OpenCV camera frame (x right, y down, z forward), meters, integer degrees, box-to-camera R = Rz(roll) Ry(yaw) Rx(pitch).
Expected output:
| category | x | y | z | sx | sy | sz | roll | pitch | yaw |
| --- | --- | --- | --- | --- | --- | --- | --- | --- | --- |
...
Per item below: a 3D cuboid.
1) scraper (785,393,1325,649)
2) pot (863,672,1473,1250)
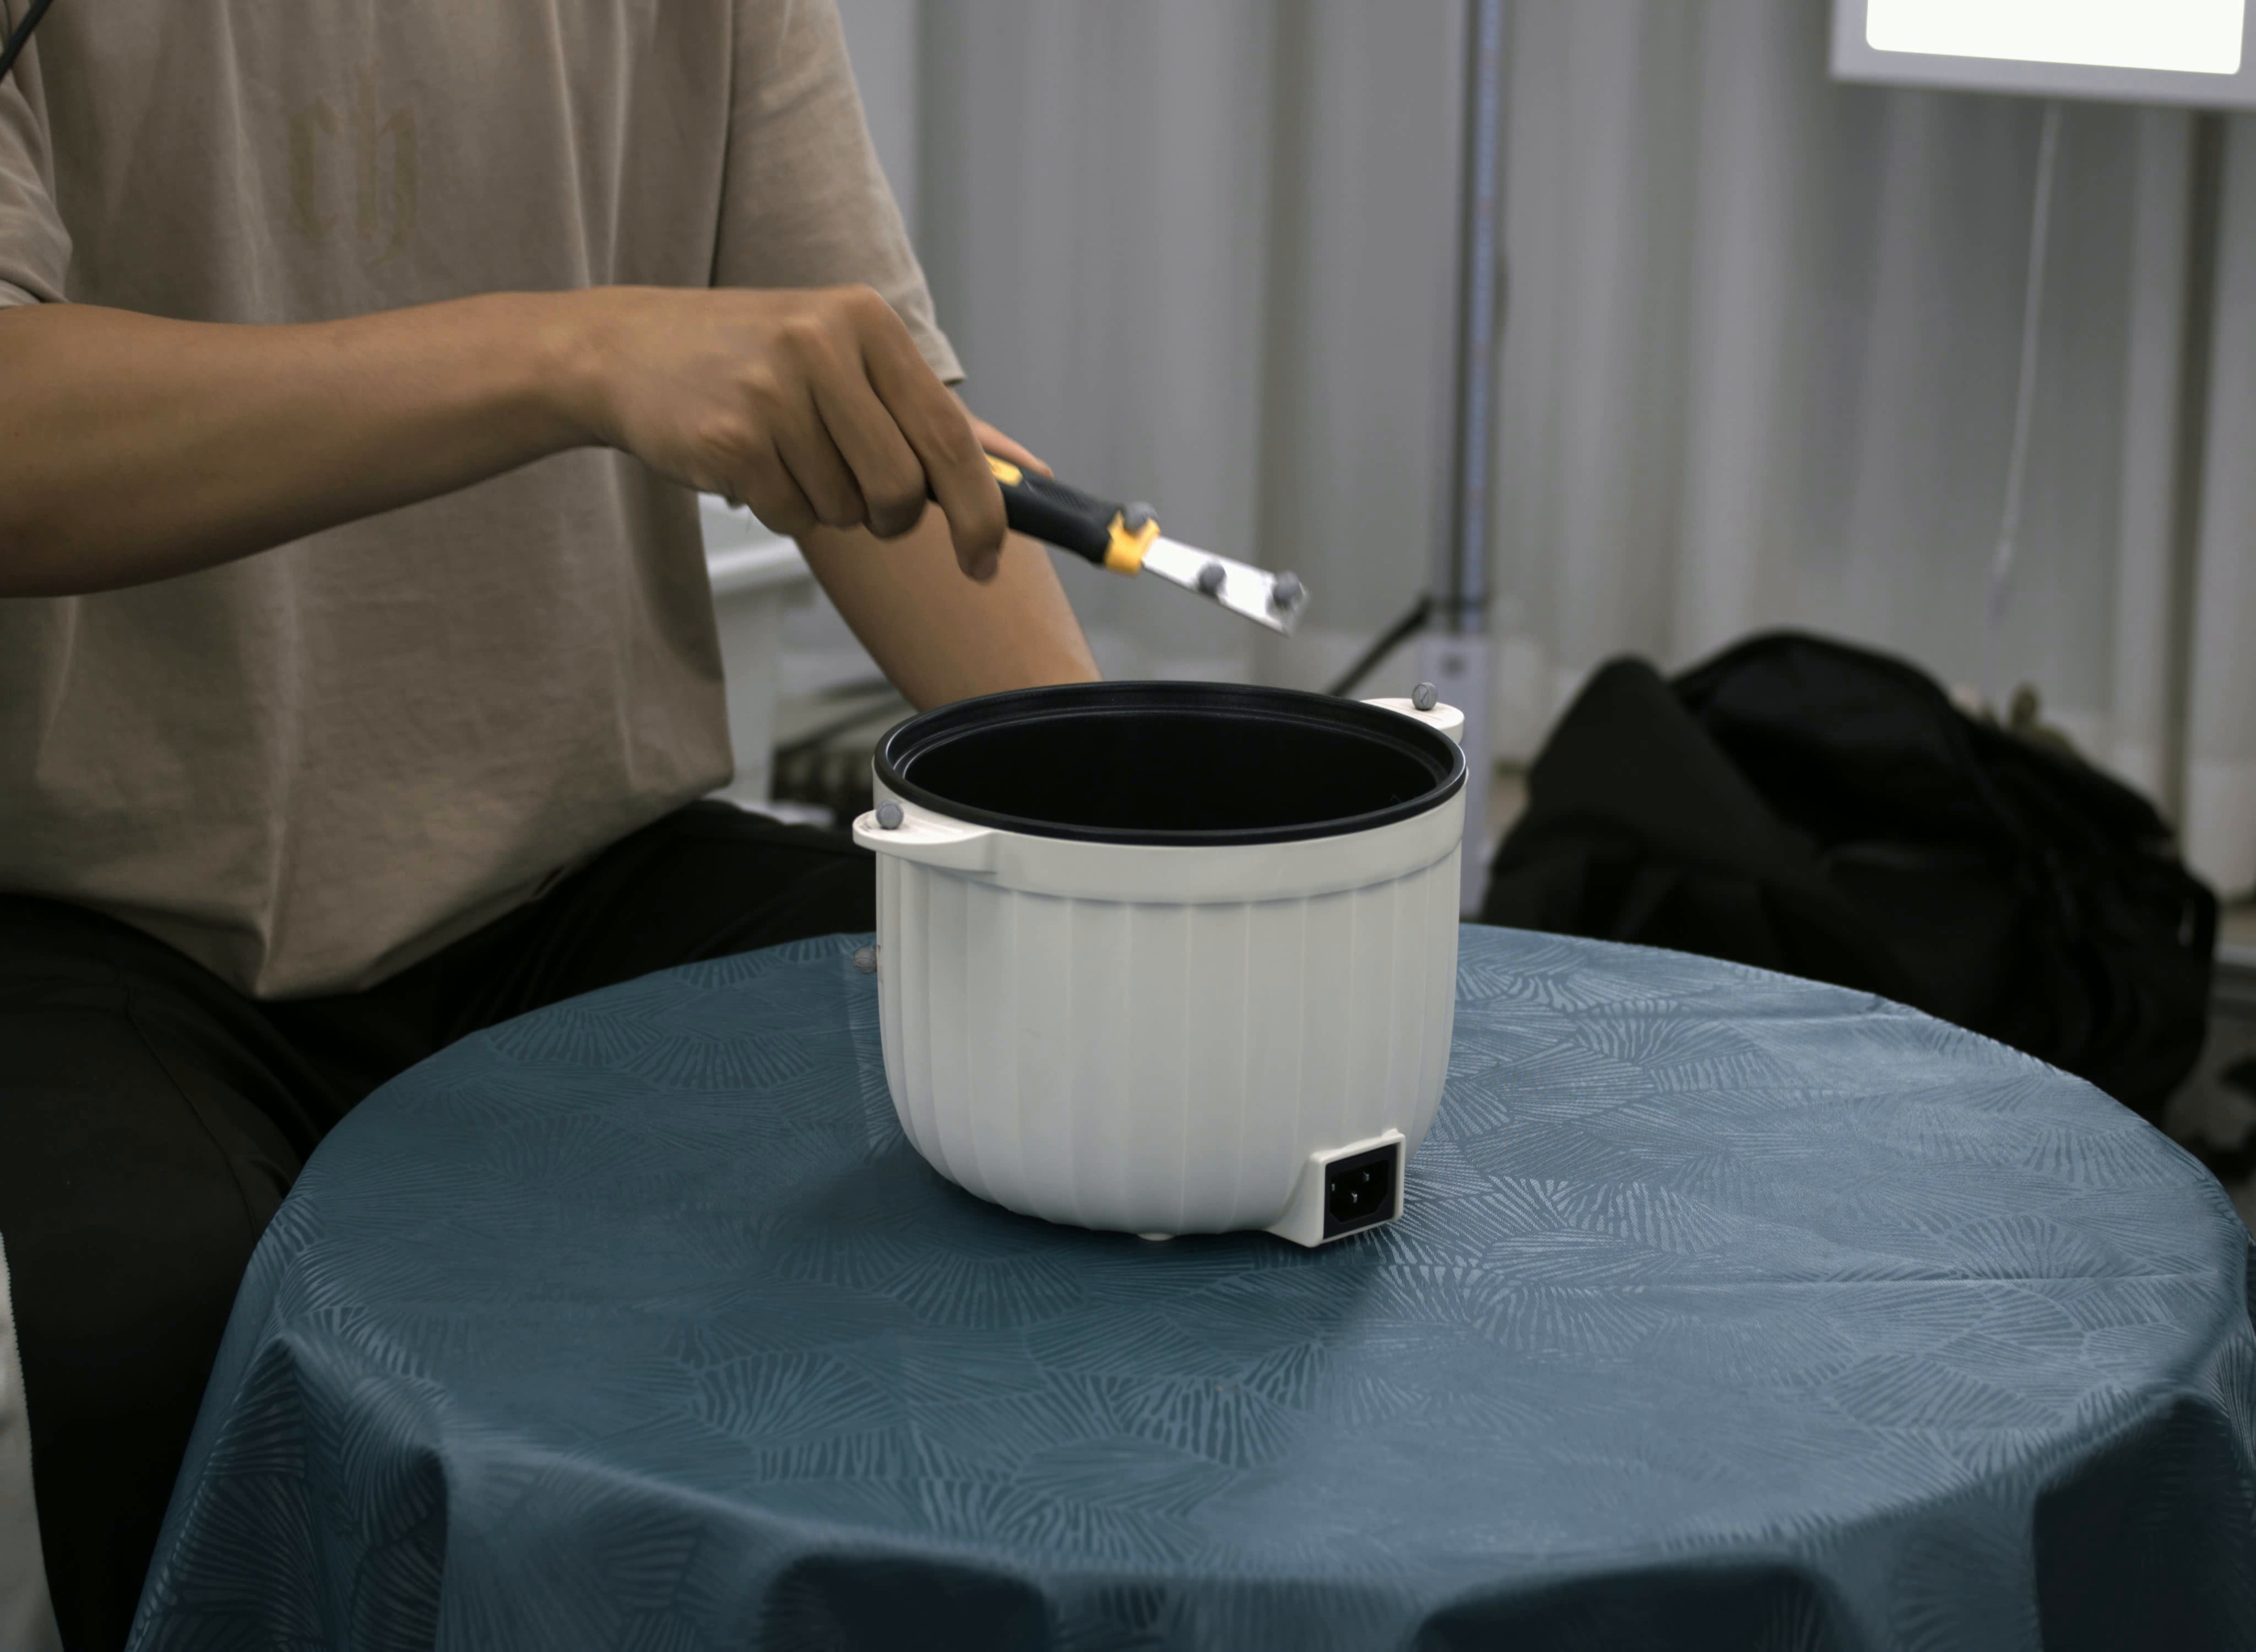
| category | x | y | z | sx | sy | sz | roll | pitch | yaw |
| --- | --- | --- | --- | --- | --- | --- | --- | --- | --- |
| scraper | -0.023 | -0.092 | 1.581 | 0.170 | 0.015 | 0.038 | 22 | 33 | 0 |
| pot | 0.008 | 0.040 | 1.624 | 0.241 | 0.144 | 0.188 | -13 | 25 | -42 |
